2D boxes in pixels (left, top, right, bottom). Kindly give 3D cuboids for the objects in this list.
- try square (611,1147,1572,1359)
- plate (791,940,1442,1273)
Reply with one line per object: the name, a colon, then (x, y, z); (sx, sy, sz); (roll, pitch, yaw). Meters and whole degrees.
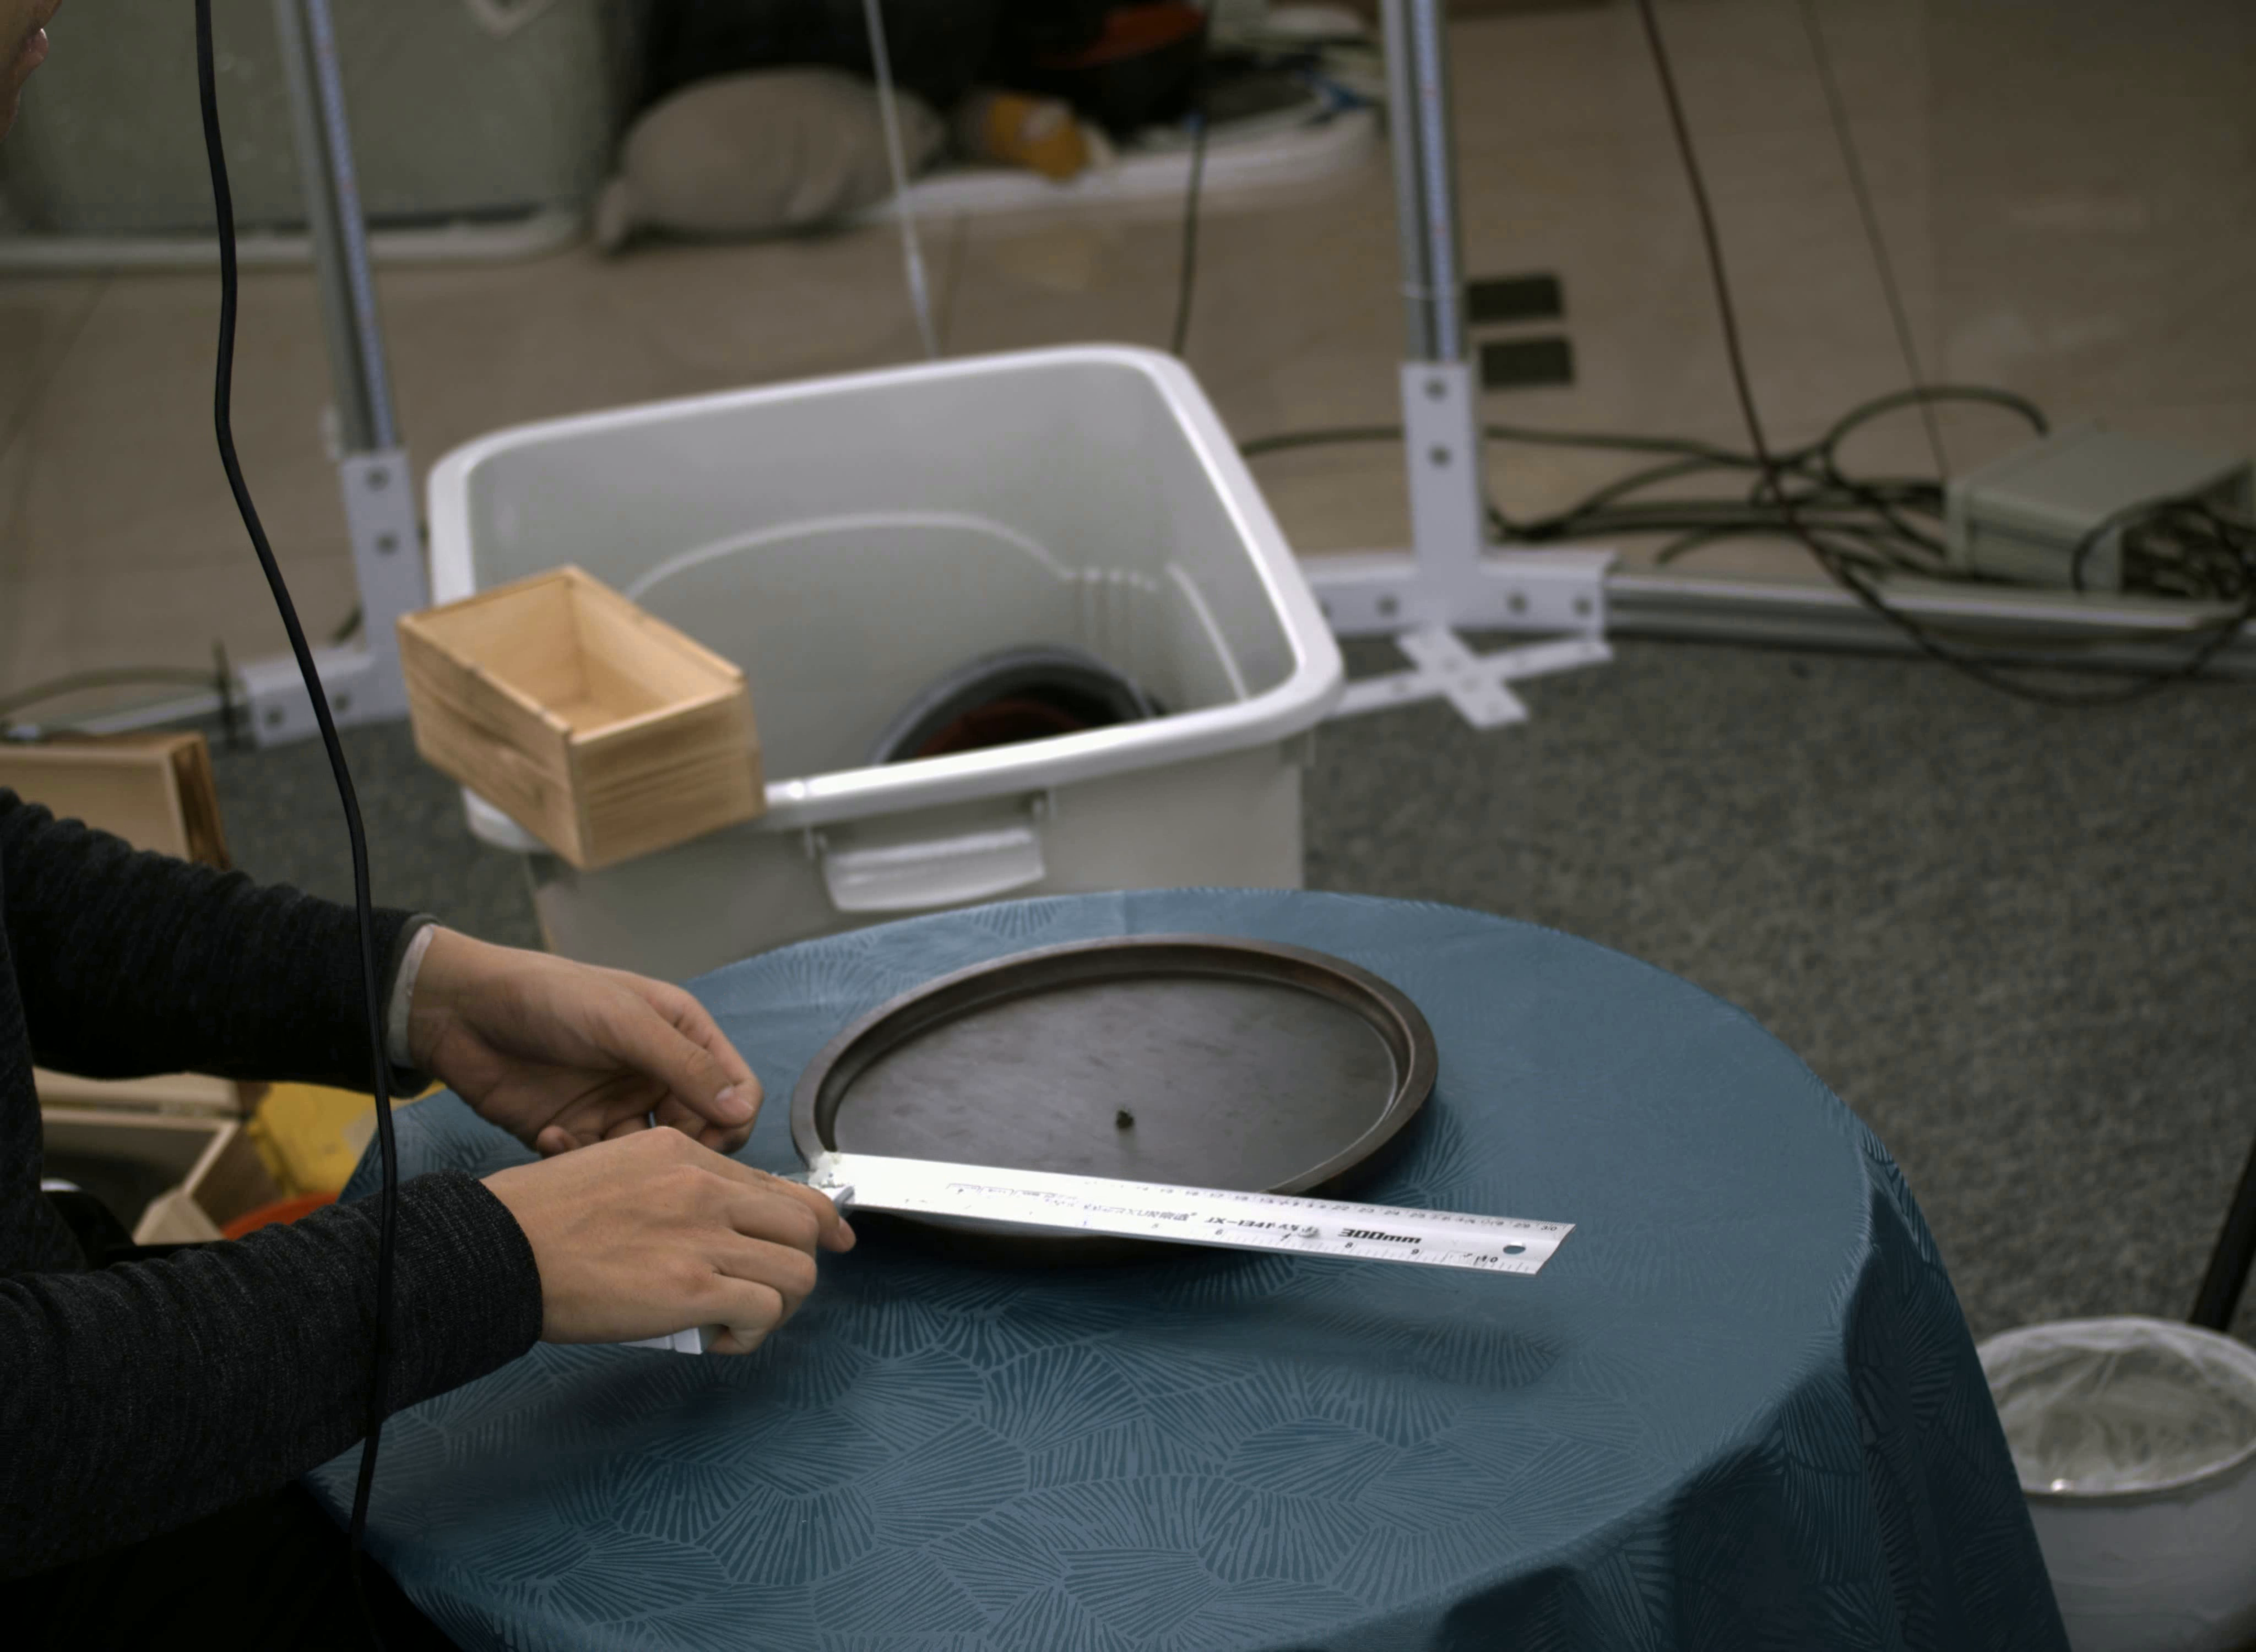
try square: (-0.015, 0.161, 2.014); (0.312, 0.016, 0.150); (4, 26, 26)
plate: (-0.004, 0.106, 2.191); (0.254, 0.029, 0.251); (-4, 25, 2)
